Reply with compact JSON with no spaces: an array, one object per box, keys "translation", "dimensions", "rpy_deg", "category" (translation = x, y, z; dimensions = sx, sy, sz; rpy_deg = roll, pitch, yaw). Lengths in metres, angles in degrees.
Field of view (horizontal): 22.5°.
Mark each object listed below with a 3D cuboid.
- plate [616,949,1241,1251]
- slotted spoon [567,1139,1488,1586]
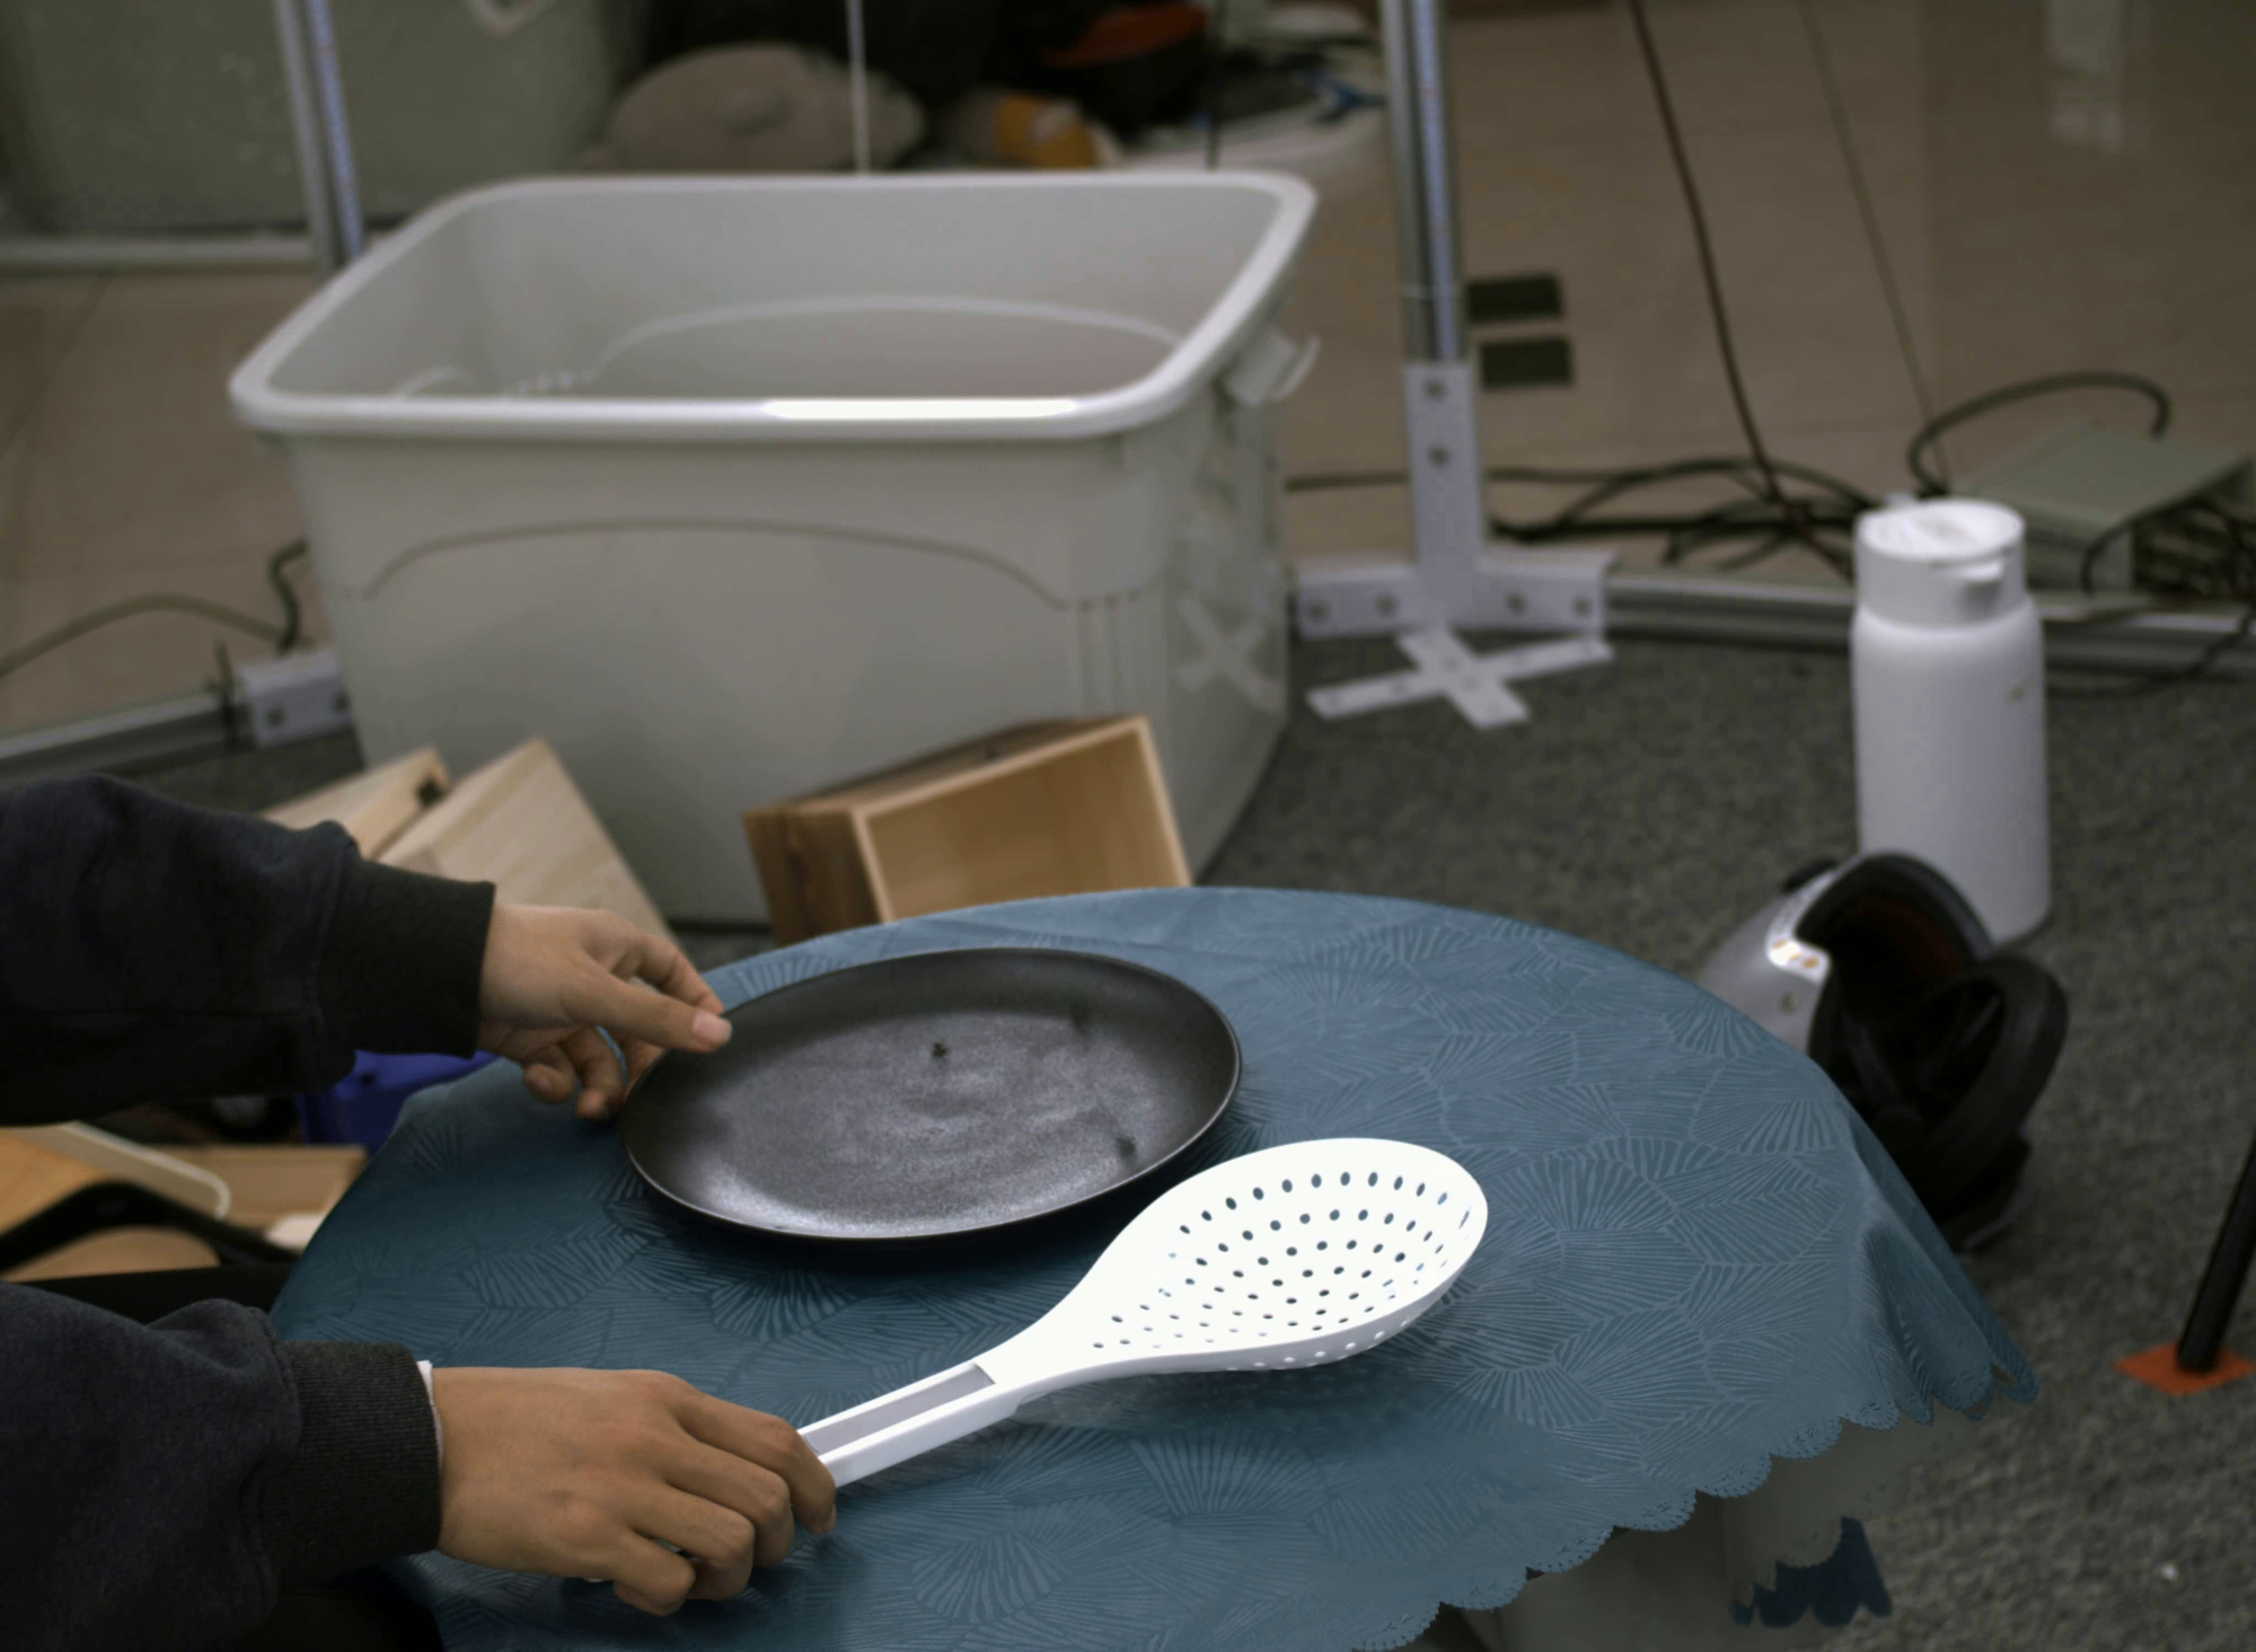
[{"translation":[-0.076,0.111,2.199],"dimensions":[0.244,0.024,0.241],"rpy_deg":[-5,25,3],"category":"plate"},{"translation":[-0.033,0.191,1.990],"dimensions":[0.348,0.046,0.134],"rpy_deg":[-17,25,-20],"category":"slotted spoon"}]
